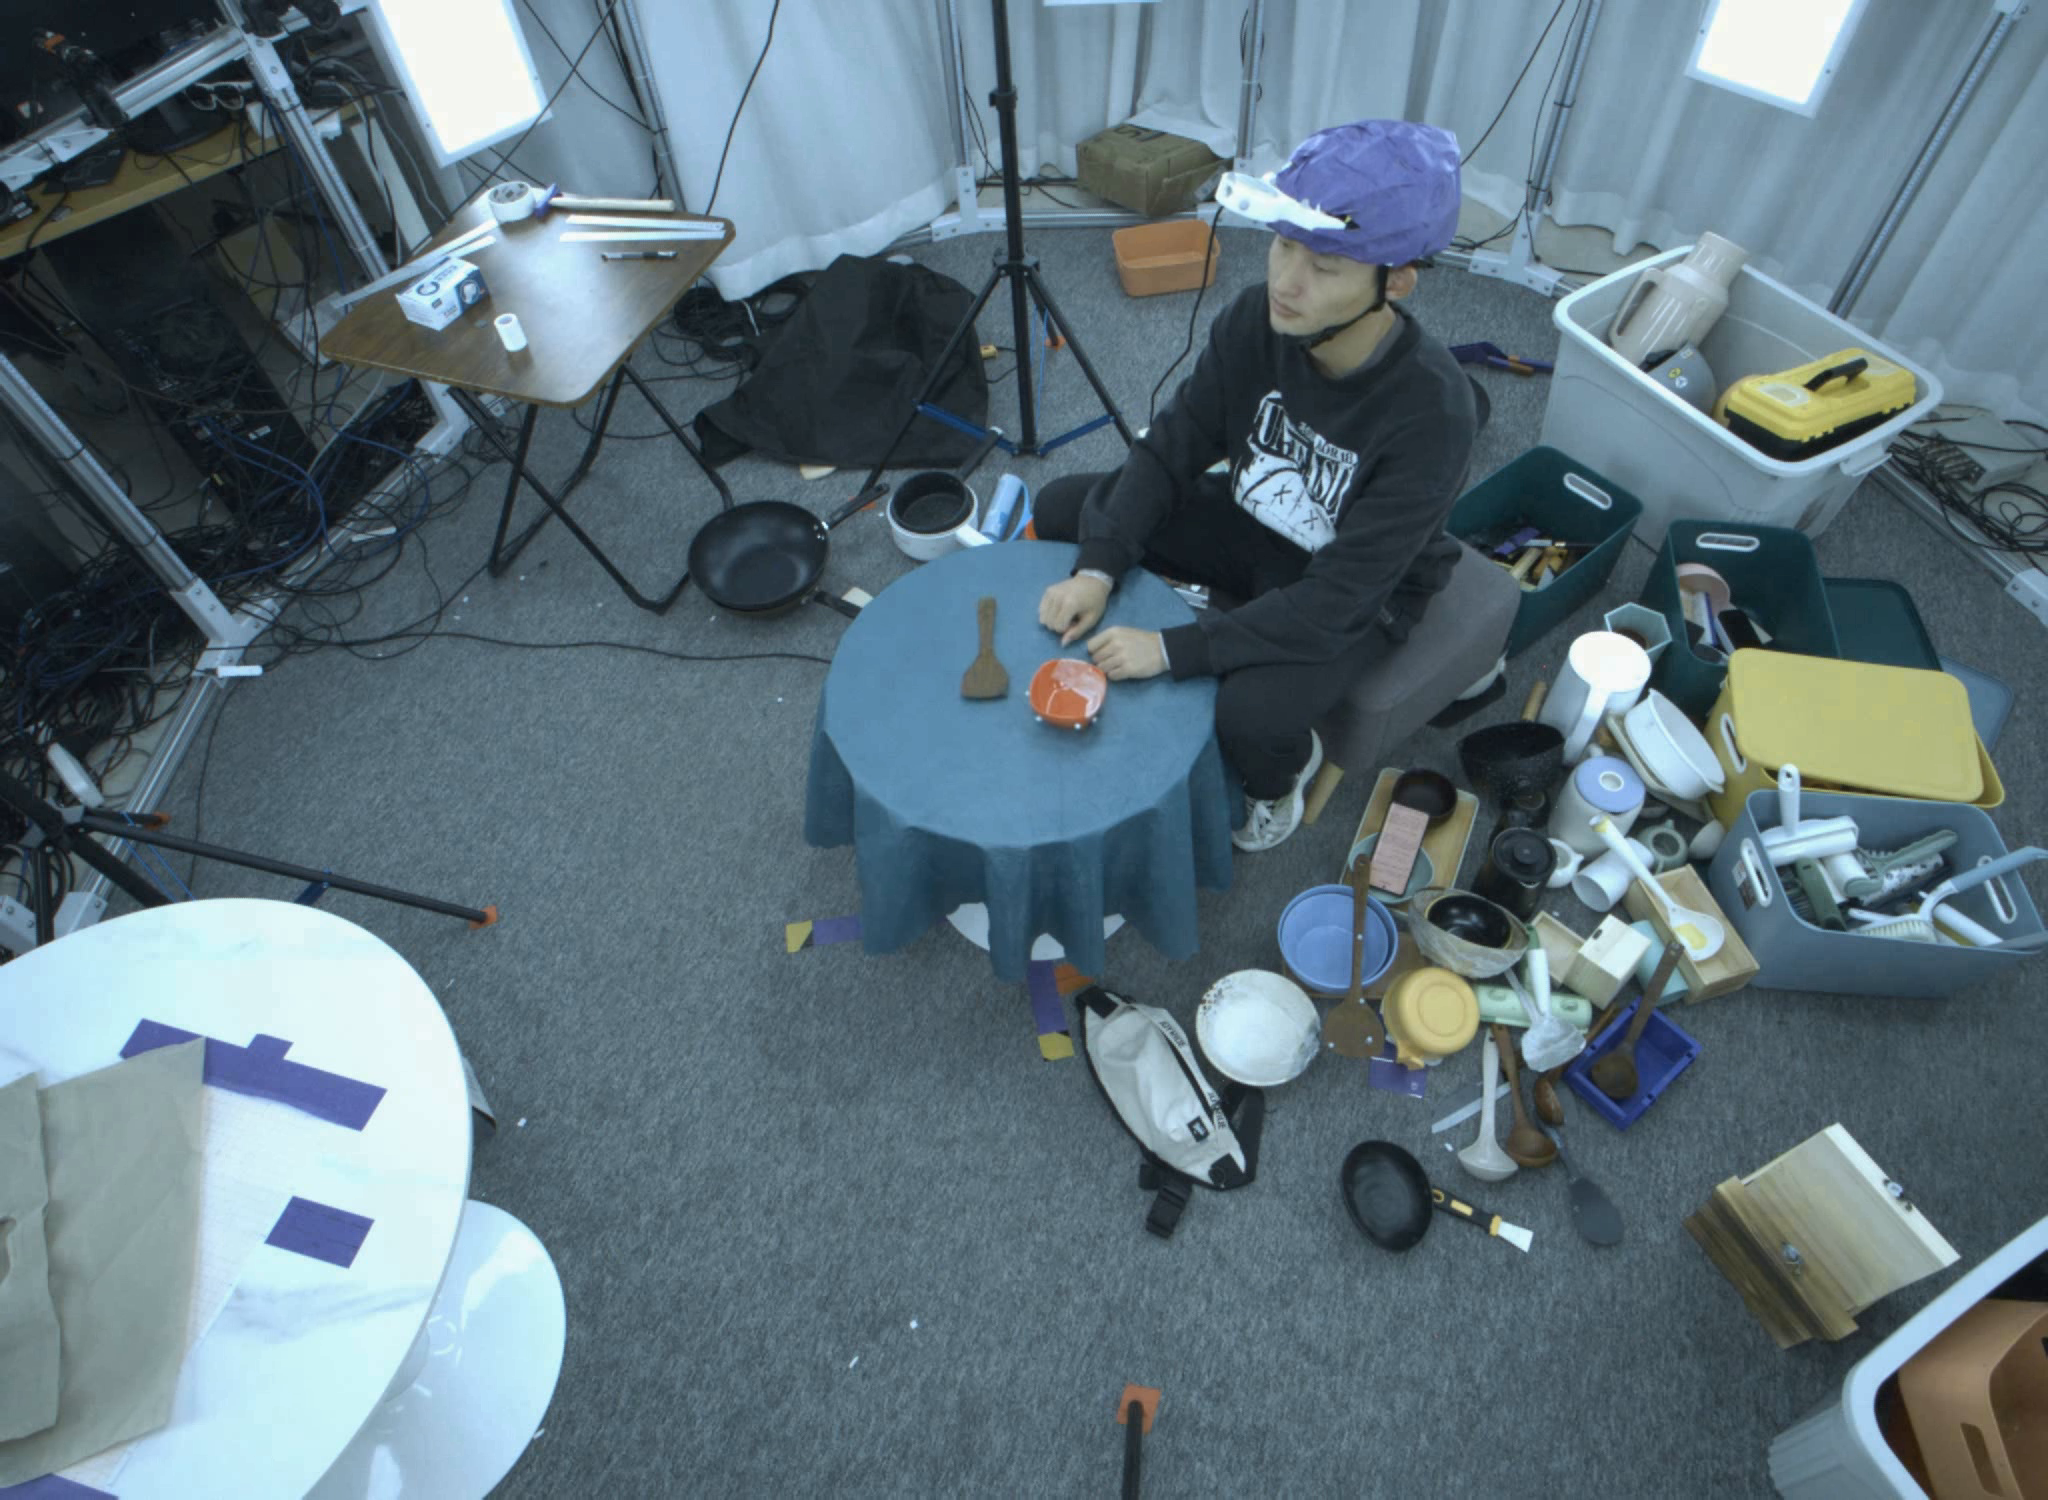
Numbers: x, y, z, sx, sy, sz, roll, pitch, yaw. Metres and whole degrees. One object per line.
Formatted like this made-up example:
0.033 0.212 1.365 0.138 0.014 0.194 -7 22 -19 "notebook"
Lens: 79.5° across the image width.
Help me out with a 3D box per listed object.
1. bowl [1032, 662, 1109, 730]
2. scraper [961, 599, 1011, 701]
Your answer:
0.070 -0.072 1.818 0.118 0.052 0.118 -2 55 4 "bowl"
-0.058 -0.157 1.905 0.076 0.011 0.209 0 54 0 "scraper"
